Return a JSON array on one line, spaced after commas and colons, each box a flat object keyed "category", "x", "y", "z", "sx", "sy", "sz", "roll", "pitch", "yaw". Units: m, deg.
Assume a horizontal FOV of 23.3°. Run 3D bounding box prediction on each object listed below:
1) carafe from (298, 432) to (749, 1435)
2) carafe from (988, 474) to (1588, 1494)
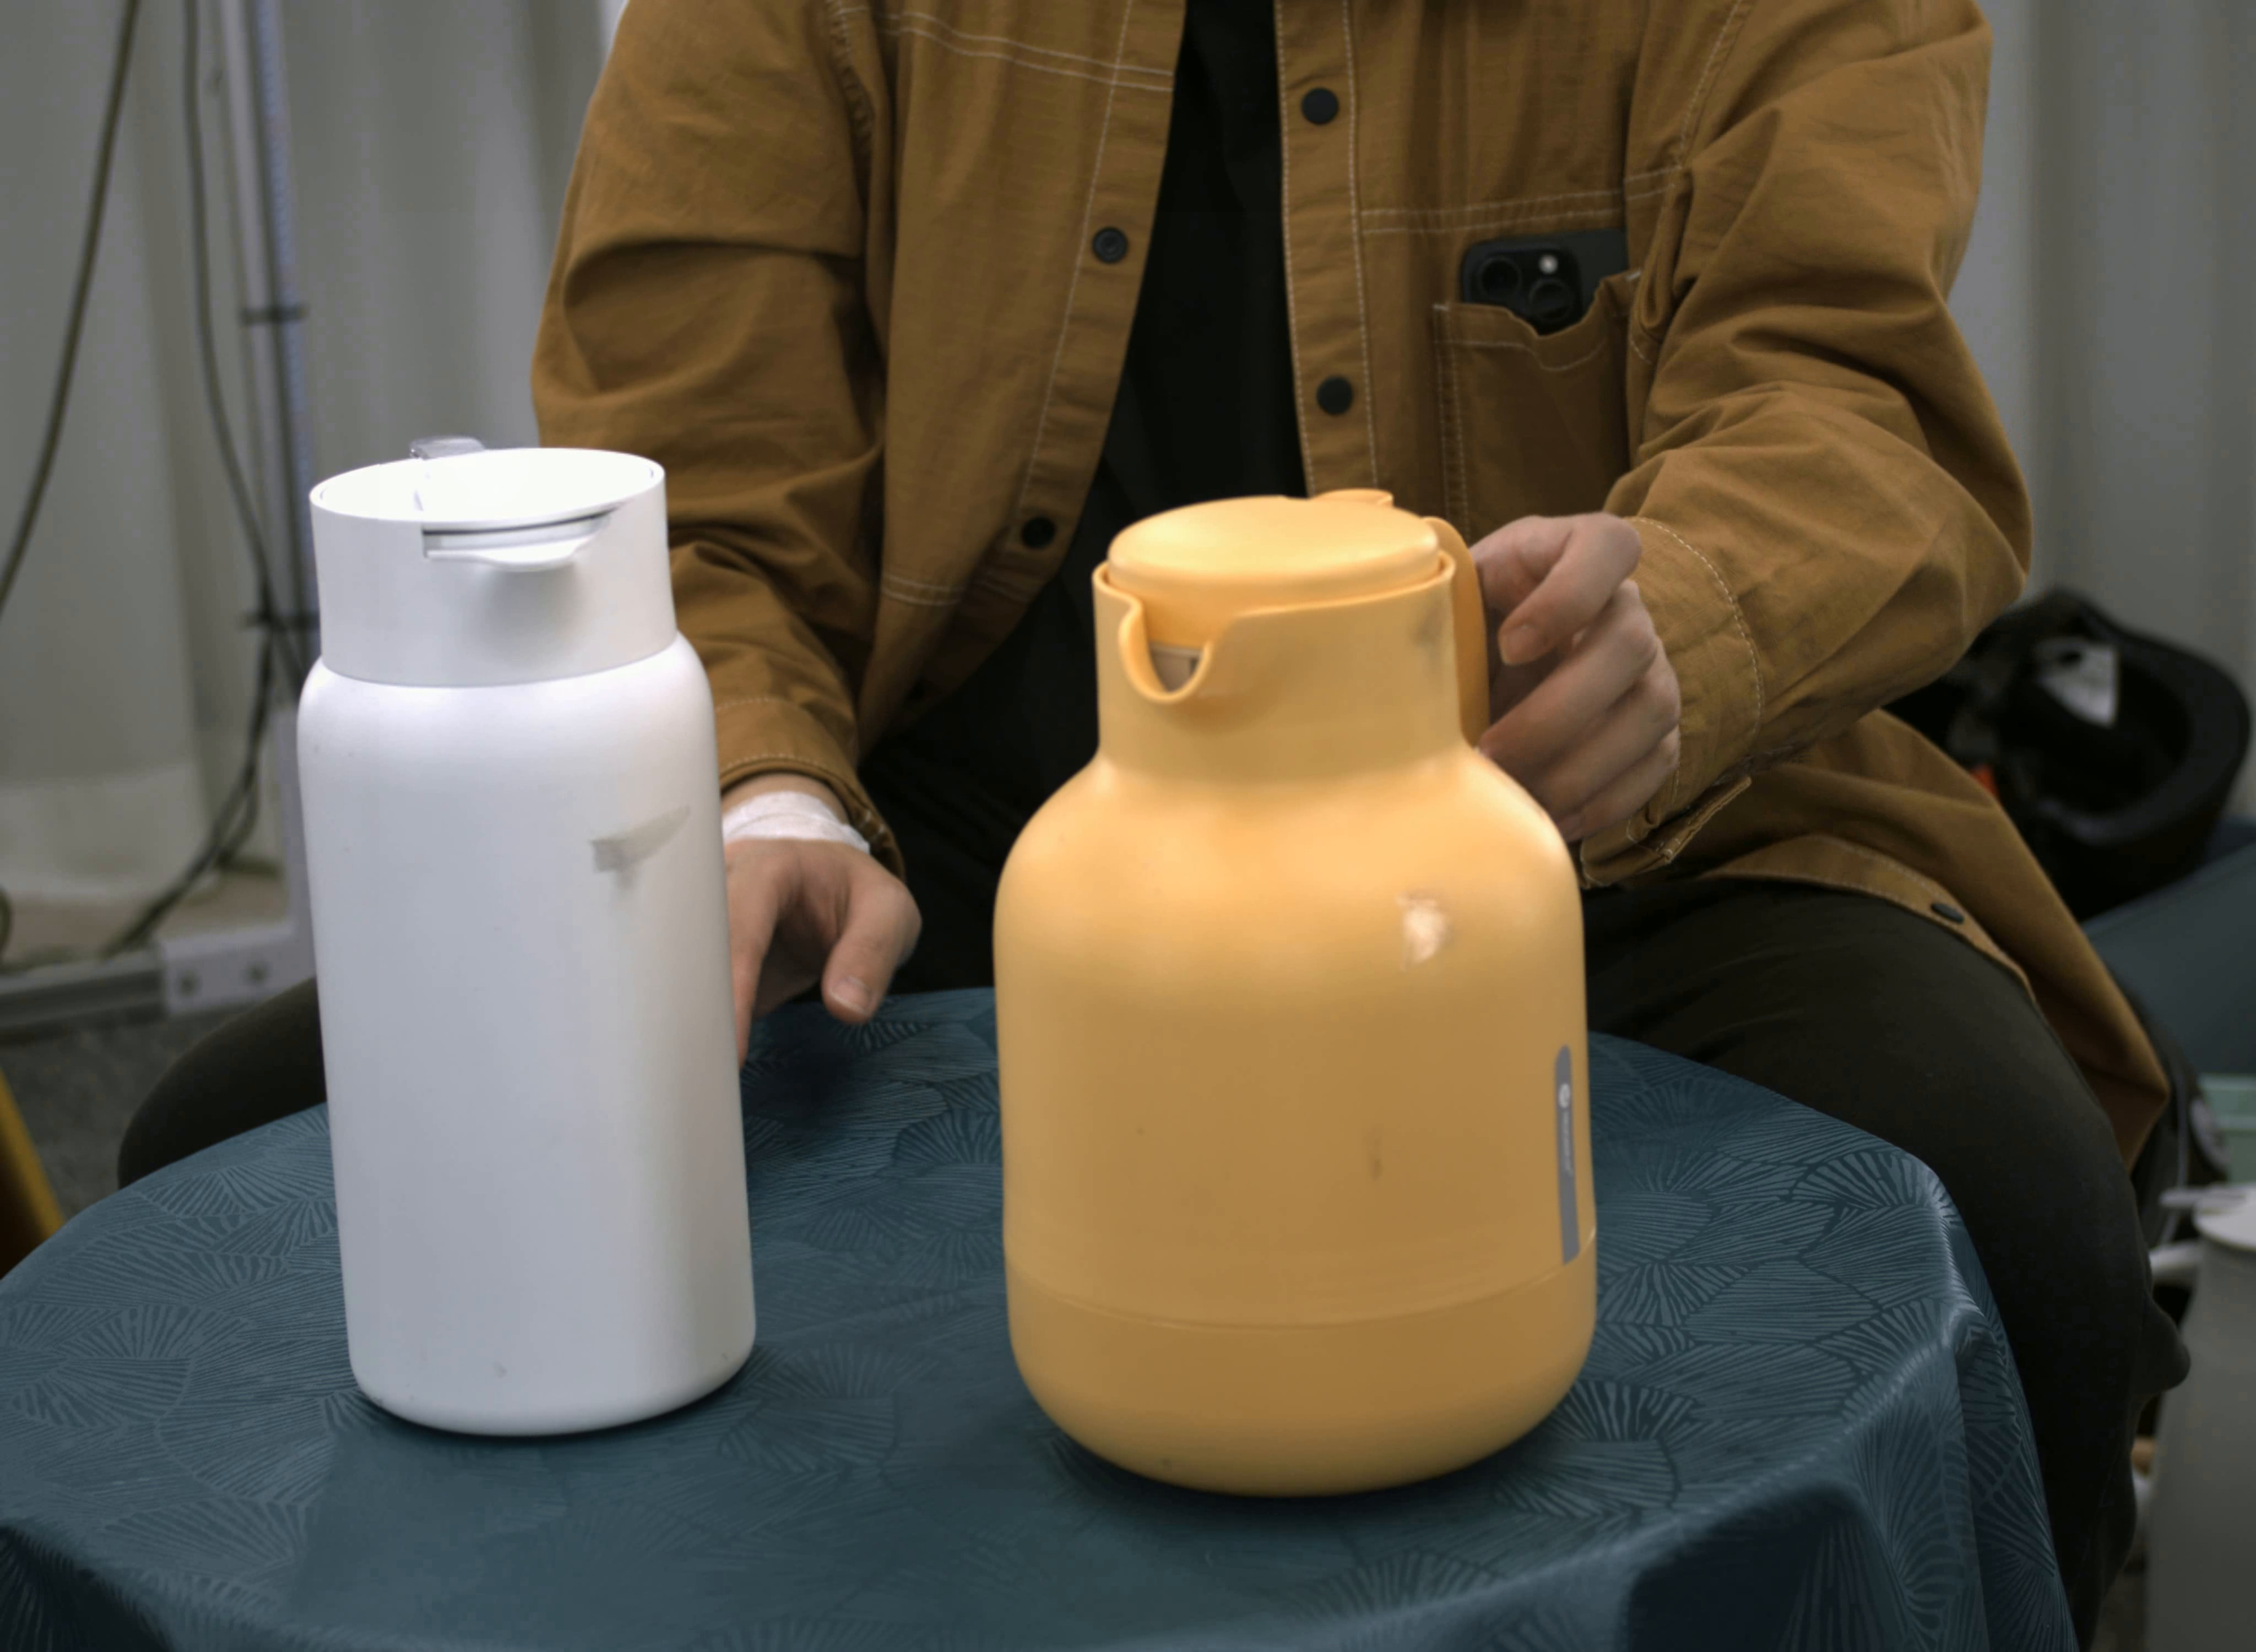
[{"category": "carafe", "x": -0.178, "y": 0.026, "z": 1.565, "sx": 0.123, "sy": 0.268, "sz": 0.174, "roll": -9, "pitch": 15, "yaw": -16}, {"category": "carafe", "x": 0.053, "y": 0.034, "z": 1.498, "sx": 0.164, "sy": 0.259, "sz": 0.203, "roll": 8, "pitch": 19, "yaw": 27}]
